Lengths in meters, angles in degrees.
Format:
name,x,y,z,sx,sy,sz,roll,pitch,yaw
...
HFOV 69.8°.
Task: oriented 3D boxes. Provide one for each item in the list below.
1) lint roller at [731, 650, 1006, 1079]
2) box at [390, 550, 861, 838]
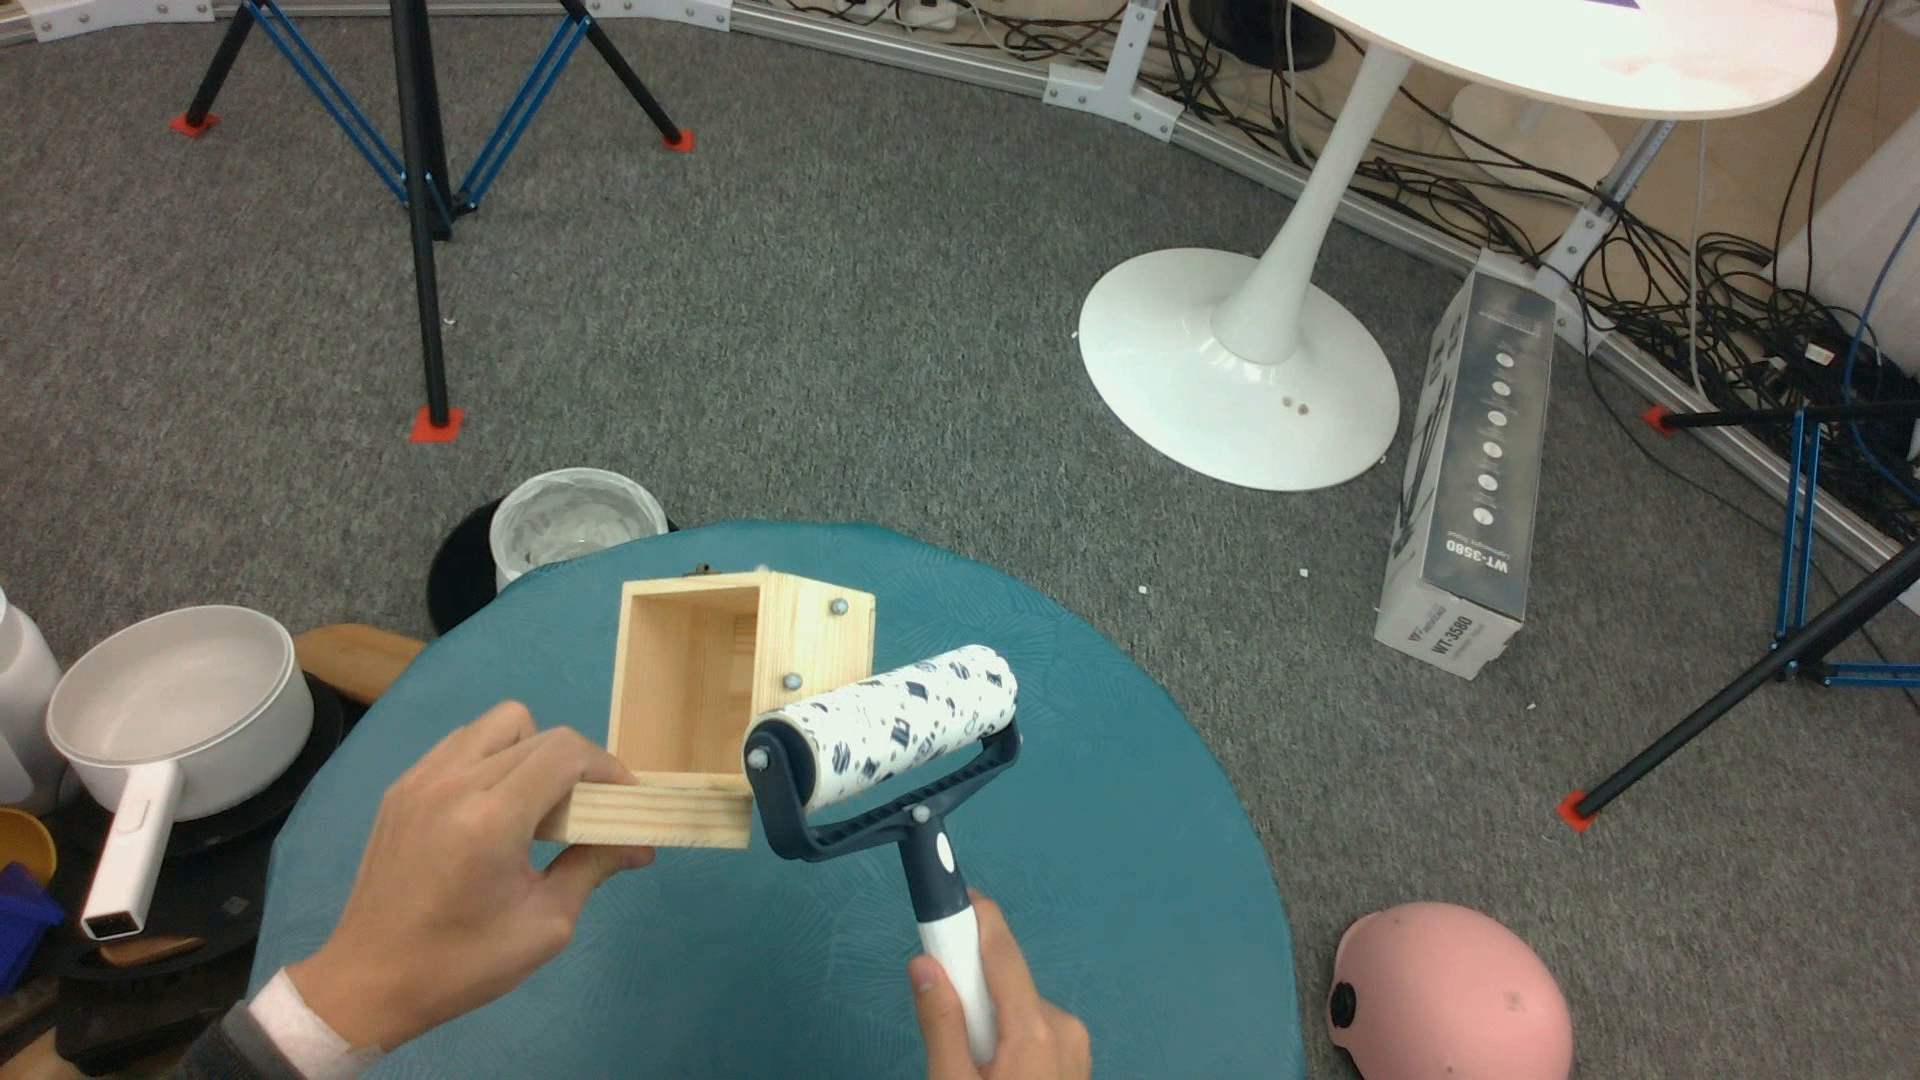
name,x,y,z,sx,sy,sz,roll,pitch,yaw
lint roller,-0.009,0.183,0.650,0.177,0.050,0.247,-13,83,-57
box,-0.145,0.067,0.634,0.184,0.102,0.134,18,71,-53
